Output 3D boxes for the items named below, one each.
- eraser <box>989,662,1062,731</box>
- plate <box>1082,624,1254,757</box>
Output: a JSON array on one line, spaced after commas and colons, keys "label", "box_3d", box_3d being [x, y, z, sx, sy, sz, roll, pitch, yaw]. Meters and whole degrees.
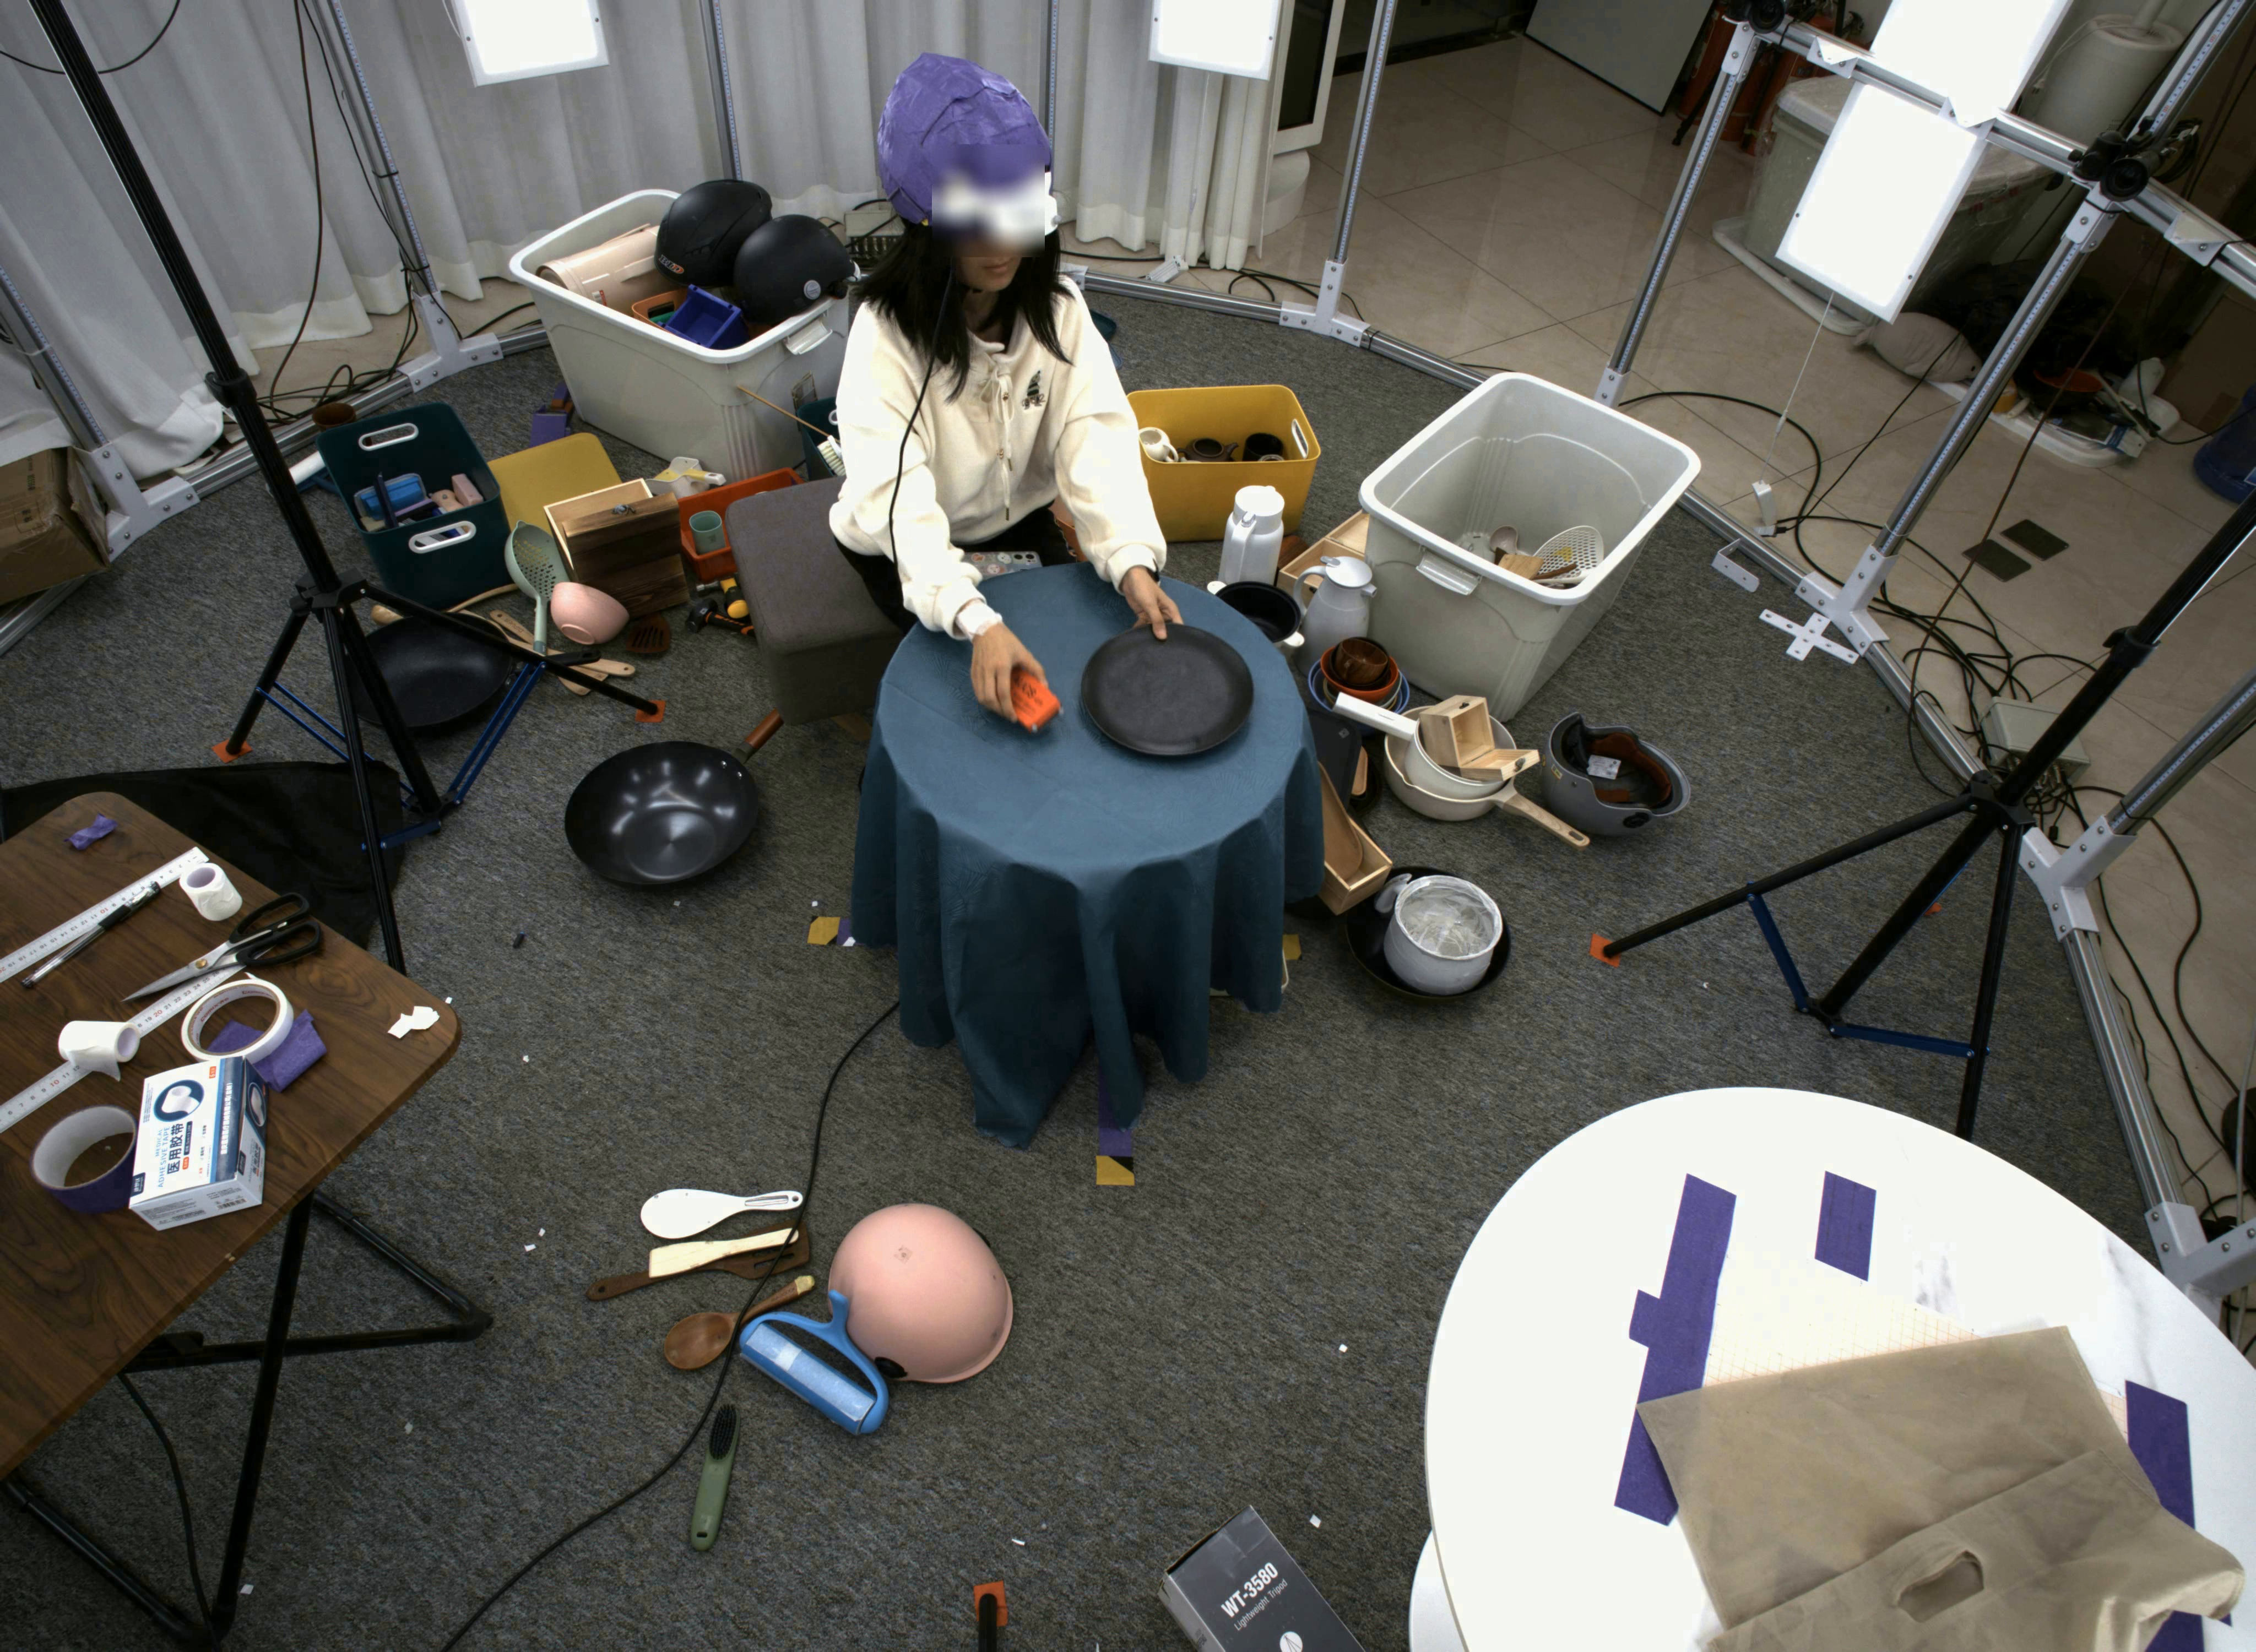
[{"label": "eraser", "box_3d": [-0.142, -0.180, 1.776, 0.059, 0.022, 0.110, -42, 53, -6]}, {"label": "plate", "box_3d": [0.056, -0.191, 1.814, 0.244, 0.023, 0.250, 0, 54, -1]}]
